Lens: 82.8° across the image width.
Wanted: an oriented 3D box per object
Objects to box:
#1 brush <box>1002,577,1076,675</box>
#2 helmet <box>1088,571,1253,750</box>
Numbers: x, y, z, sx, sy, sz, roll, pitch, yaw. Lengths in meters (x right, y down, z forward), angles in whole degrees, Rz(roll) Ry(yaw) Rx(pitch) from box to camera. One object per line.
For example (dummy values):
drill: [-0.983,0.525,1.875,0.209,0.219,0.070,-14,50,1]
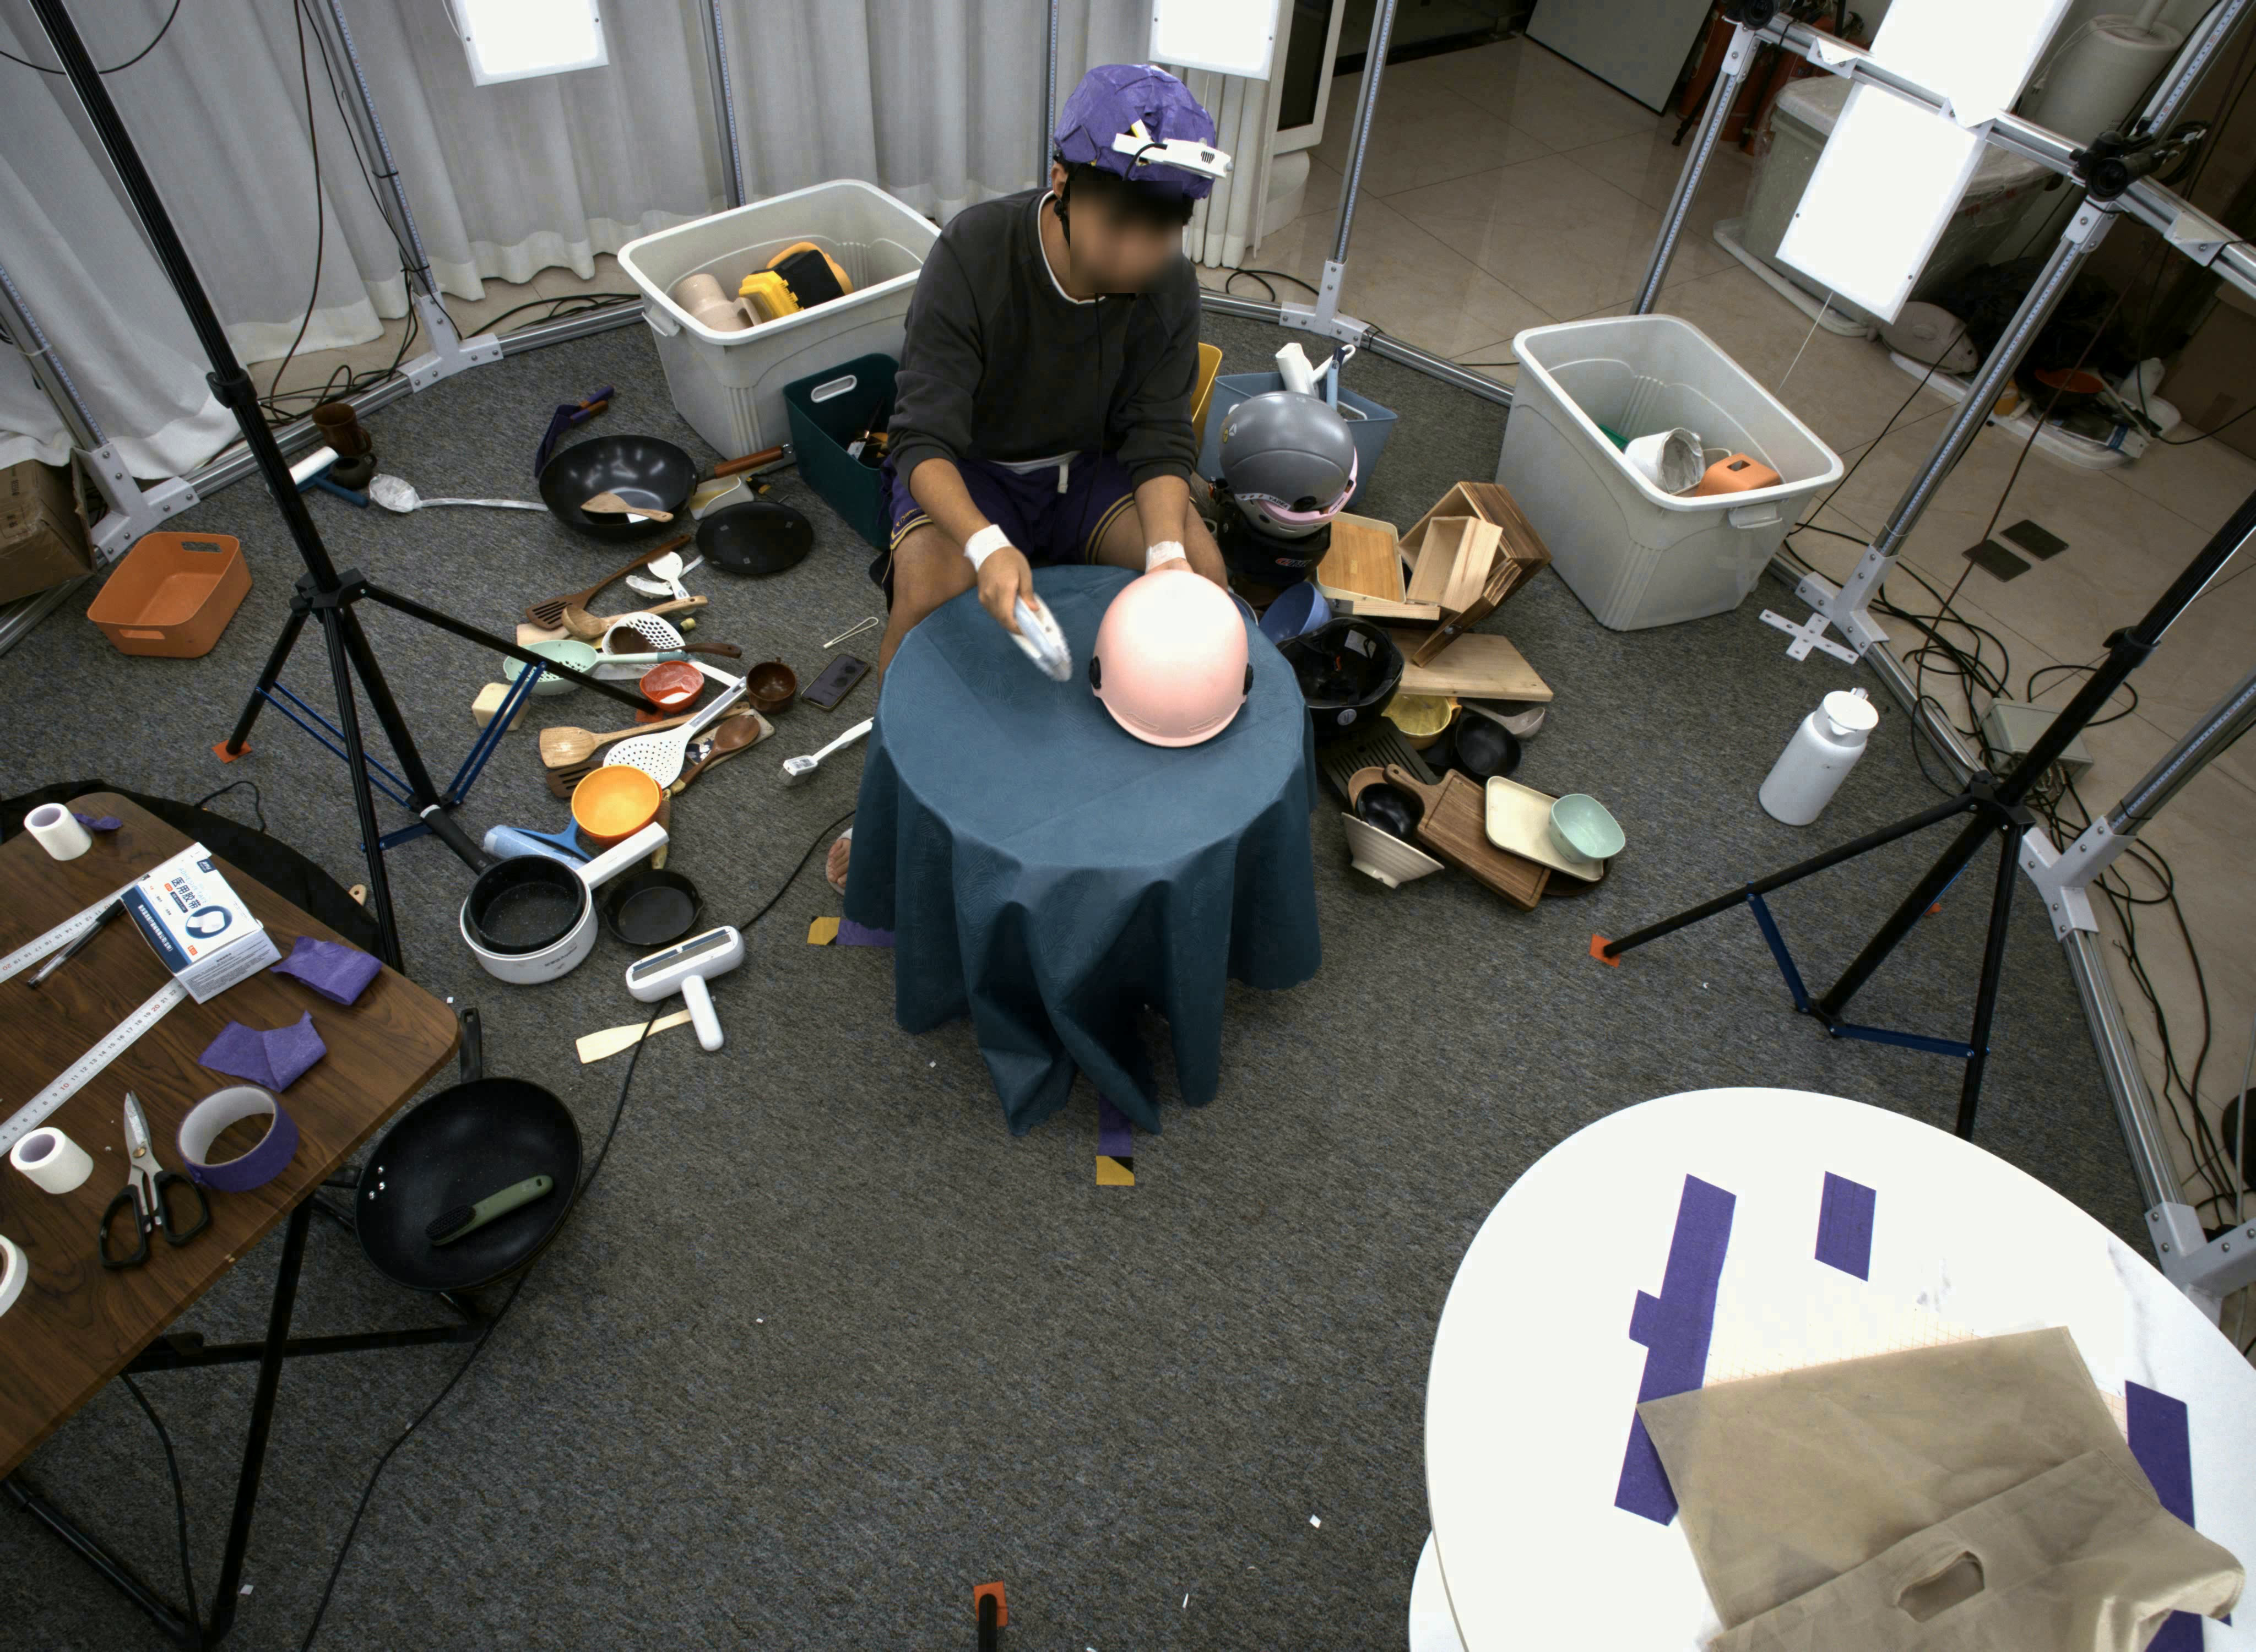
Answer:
brush: [-0.125,-0.281,1.770,0.061,0.092,0.180,-37,47,8]
helmet: [0.063,-0.252,1.792,0.234,0.155,0.272,2,53,-3]
